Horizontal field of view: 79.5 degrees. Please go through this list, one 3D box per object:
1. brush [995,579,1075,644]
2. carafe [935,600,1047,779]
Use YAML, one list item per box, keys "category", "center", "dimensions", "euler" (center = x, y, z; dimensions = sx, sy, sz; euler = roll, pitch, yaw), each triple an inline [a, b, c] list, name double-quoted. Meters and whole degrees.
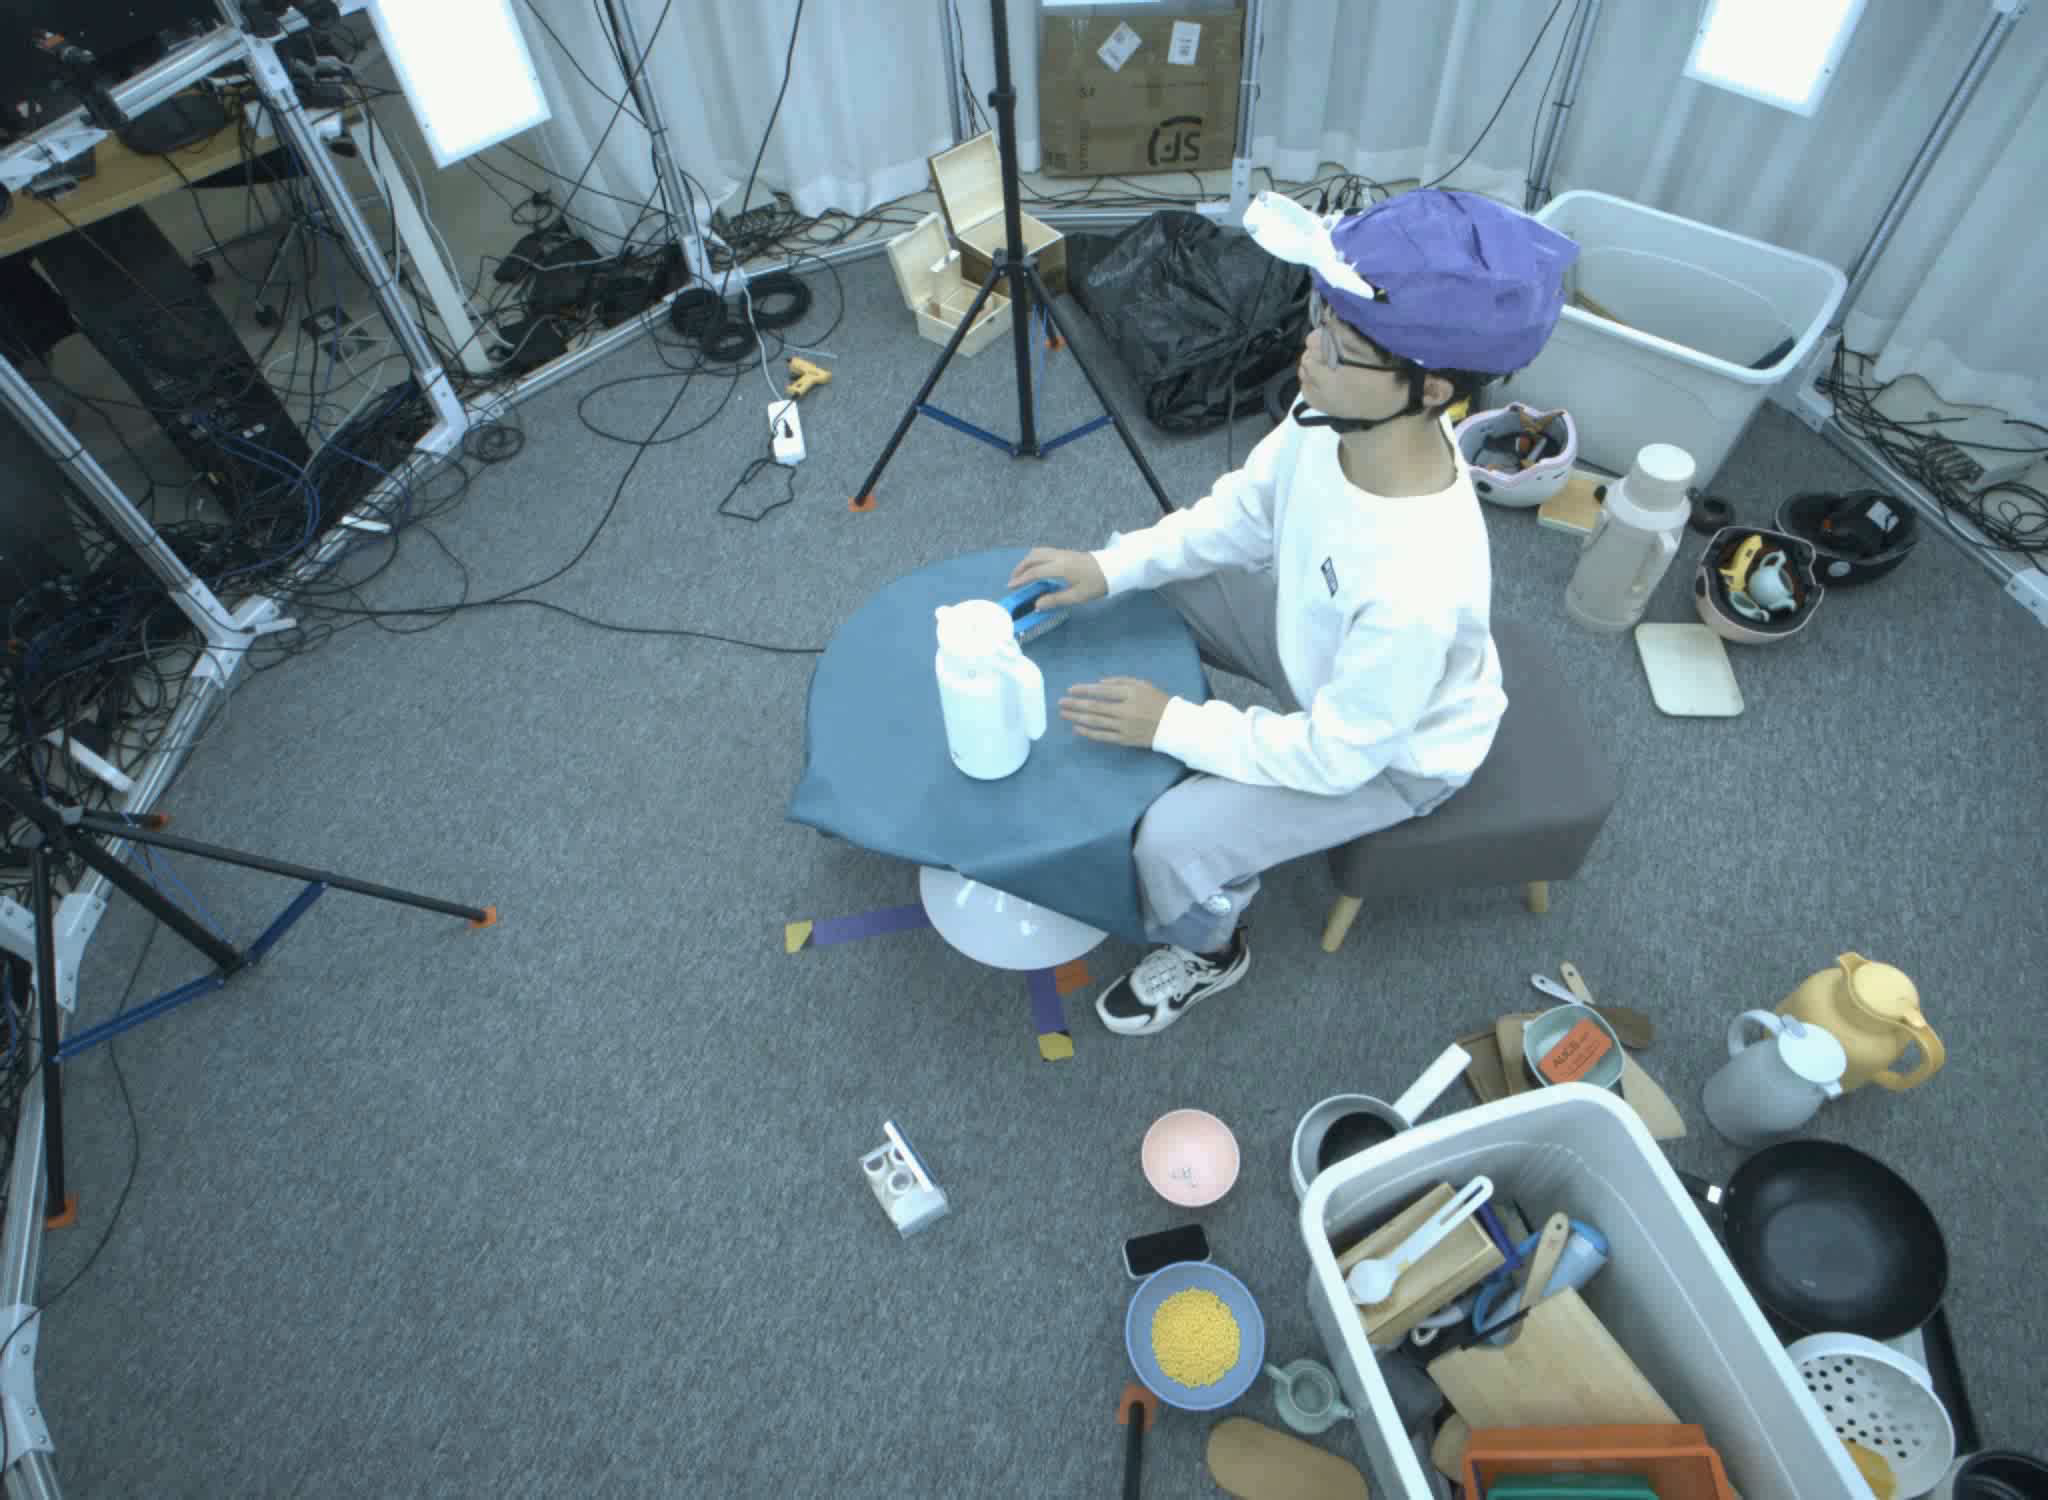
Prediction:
- category: "brush"
  center: [0.009, -0.226, 1.906]
  dimensions: [0.143, 0.064, 0.082]
  euler: [-29, 53, -18]
- category: "carafe"
  center: [-0.042, -0.072, 1.672]
  dimensions: [0.170, 0.271, 0.124]
  euler: [33, 61, 24]
